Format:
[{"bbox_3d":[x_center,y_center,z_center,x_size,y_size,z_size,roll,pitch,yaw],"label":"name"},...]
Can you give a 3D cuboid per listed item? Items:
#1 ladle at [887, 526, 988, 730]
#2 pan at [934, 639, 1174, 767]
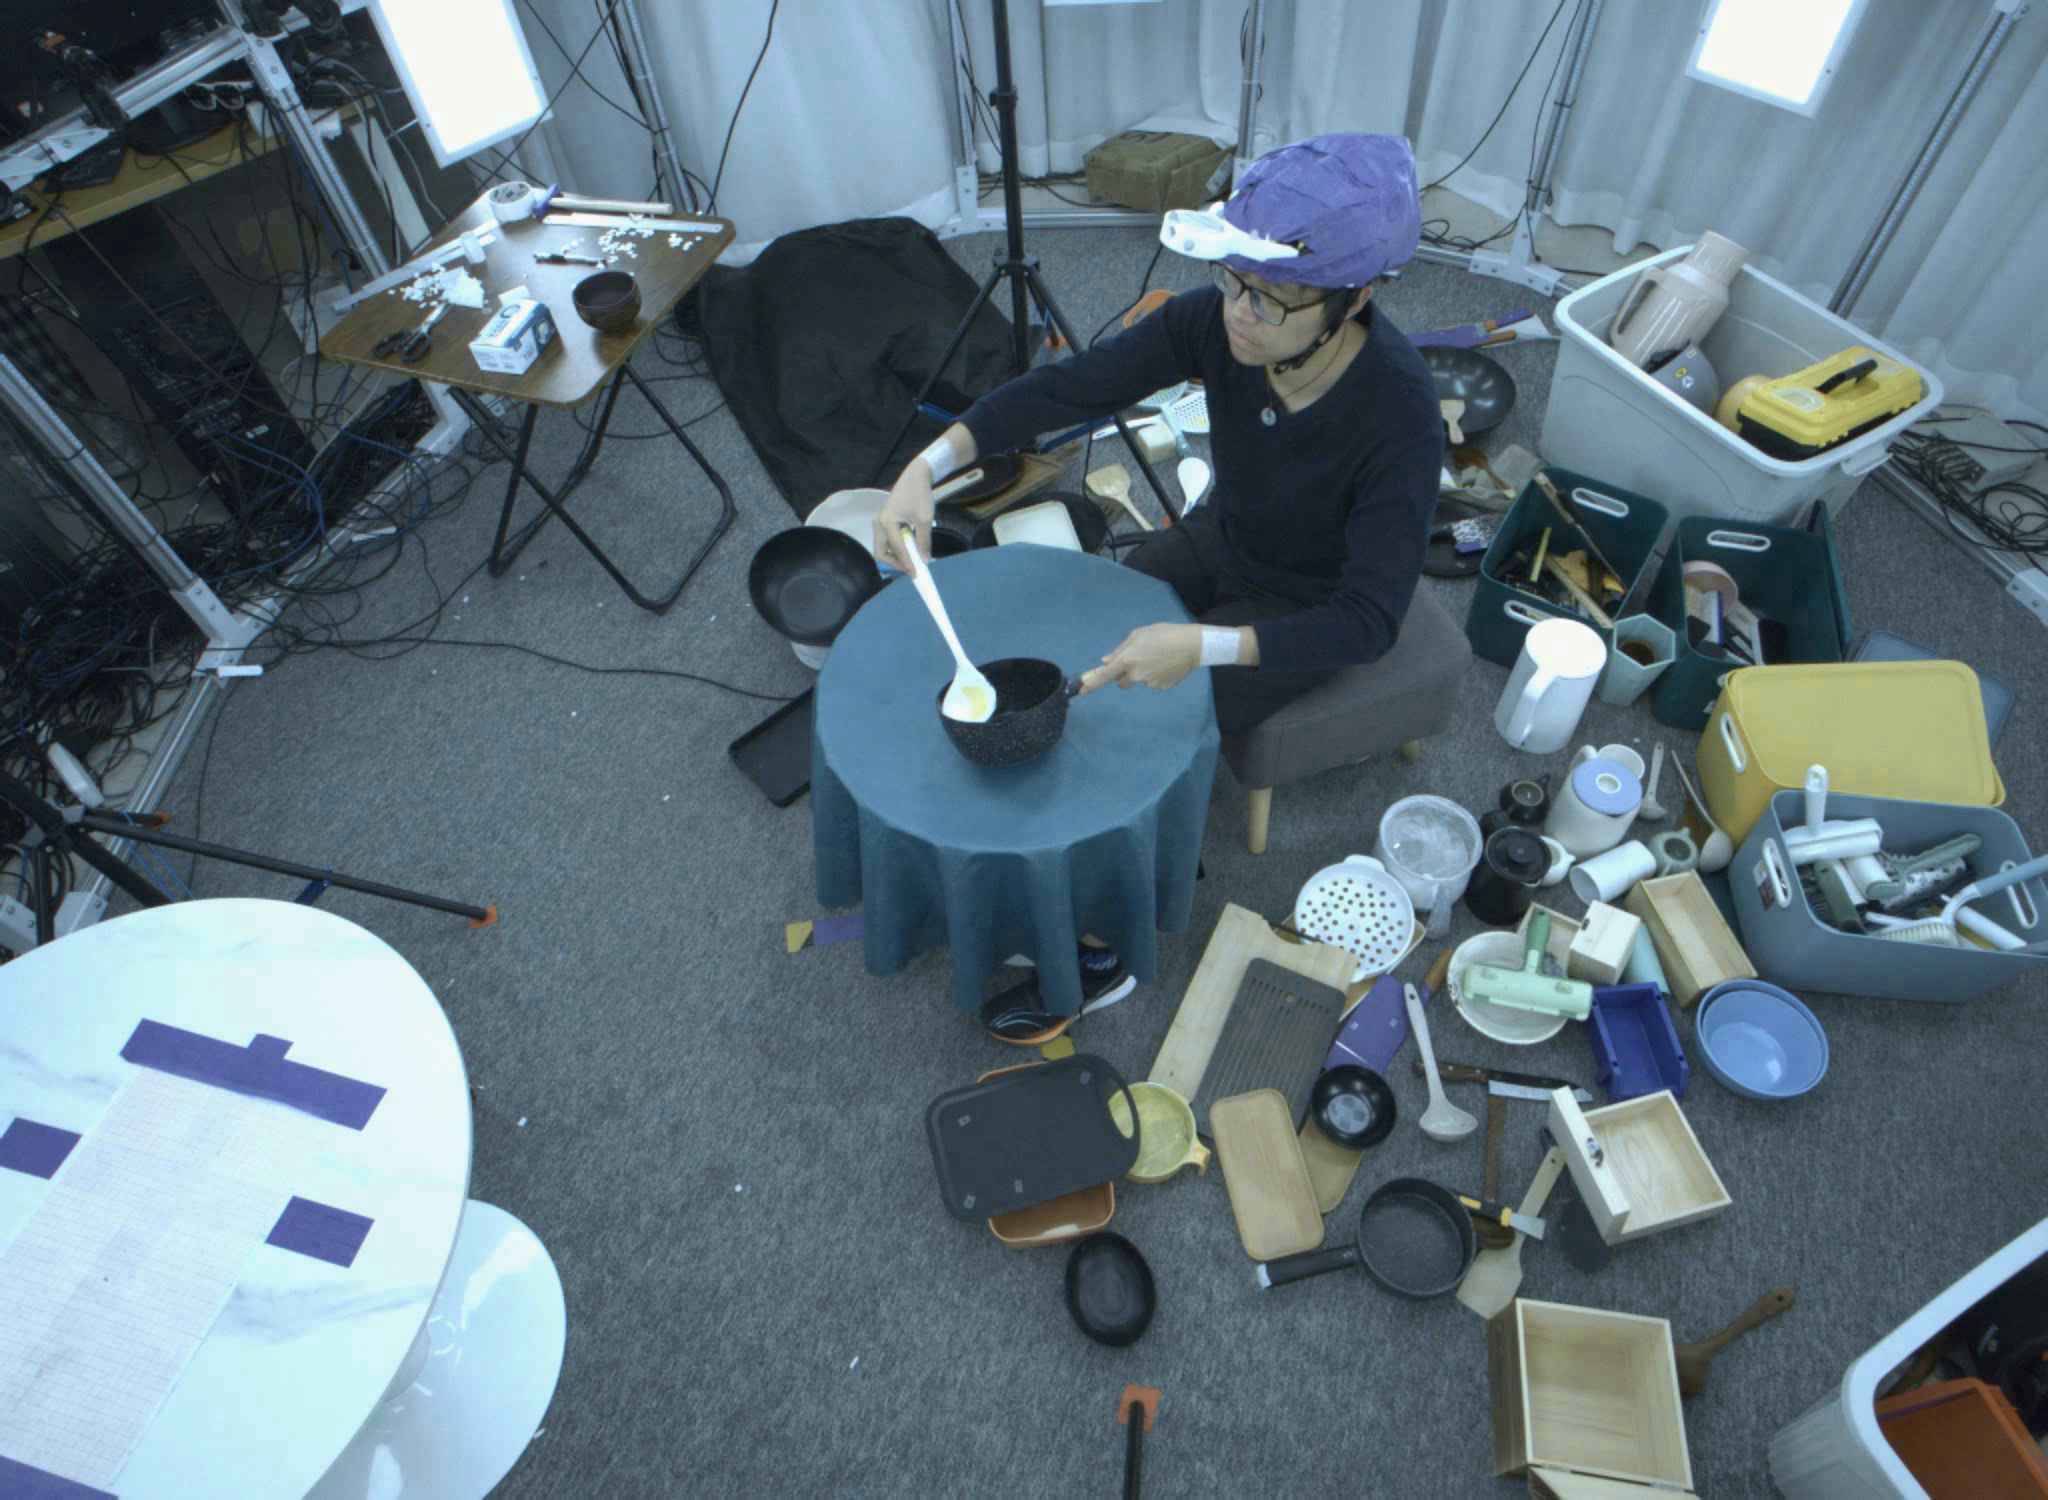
[{"bbox_3d":[-0.129,-0.168,1.711,0.088,0.295,0.070,-13,19,35],"label":"ladle"},{"bbox_3d":[0.048,-0.075,1.730,0.342,0.109,0.205,-12,30,4],"label":"pan"}]
